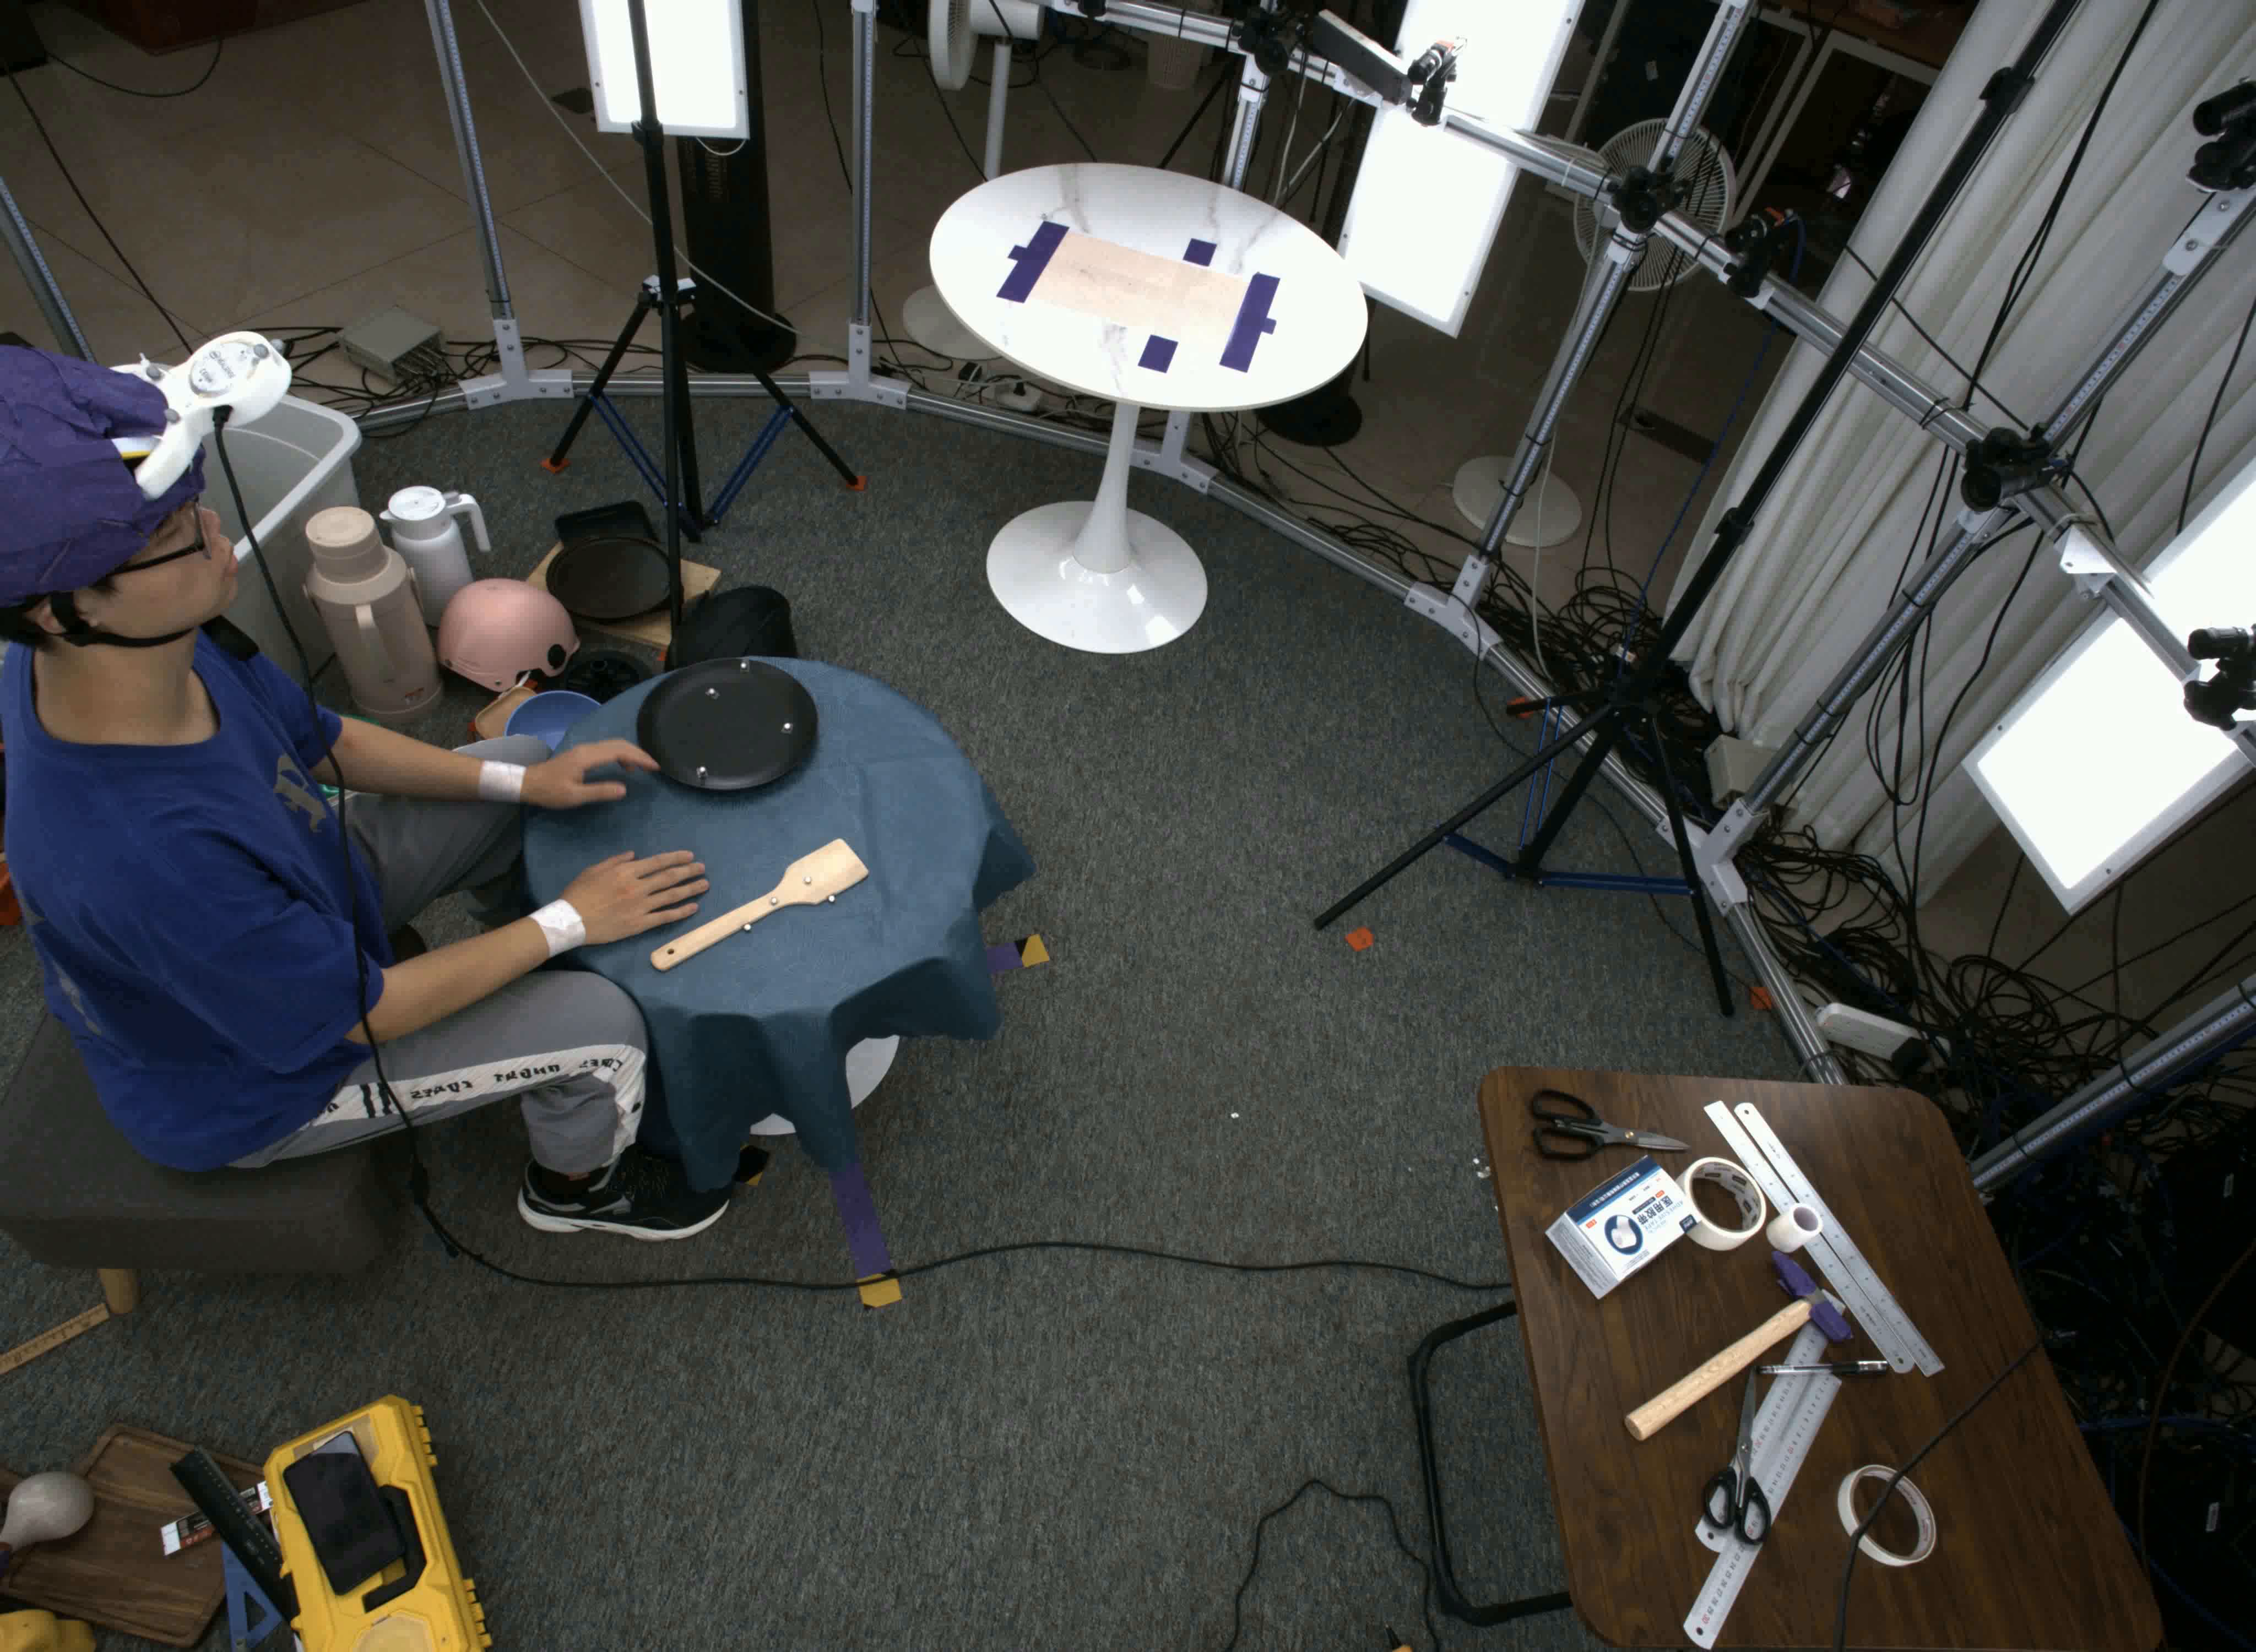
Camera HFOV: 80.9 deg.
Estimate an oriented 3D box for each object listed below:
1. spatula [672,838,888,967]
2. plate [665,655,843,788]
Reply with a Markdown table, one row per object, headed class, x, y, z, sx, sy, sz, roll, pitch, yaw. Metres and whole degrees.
| class | x | y | z | sx | sy | sz | roll | pitch | yaw |
| --- | --- | --- | --- | --- | --- | --- | --- | --- | --- |
| spatula | -0.444 | 0.101 | 1.649 | 0.294 | 0.011 | 0.070 | -30 | 67 | -30 |
| plate | -0.520 | -0.143 | 1.801 | 0.244 | 0.024 | 0.240 | 8 | 53 | -8 |
